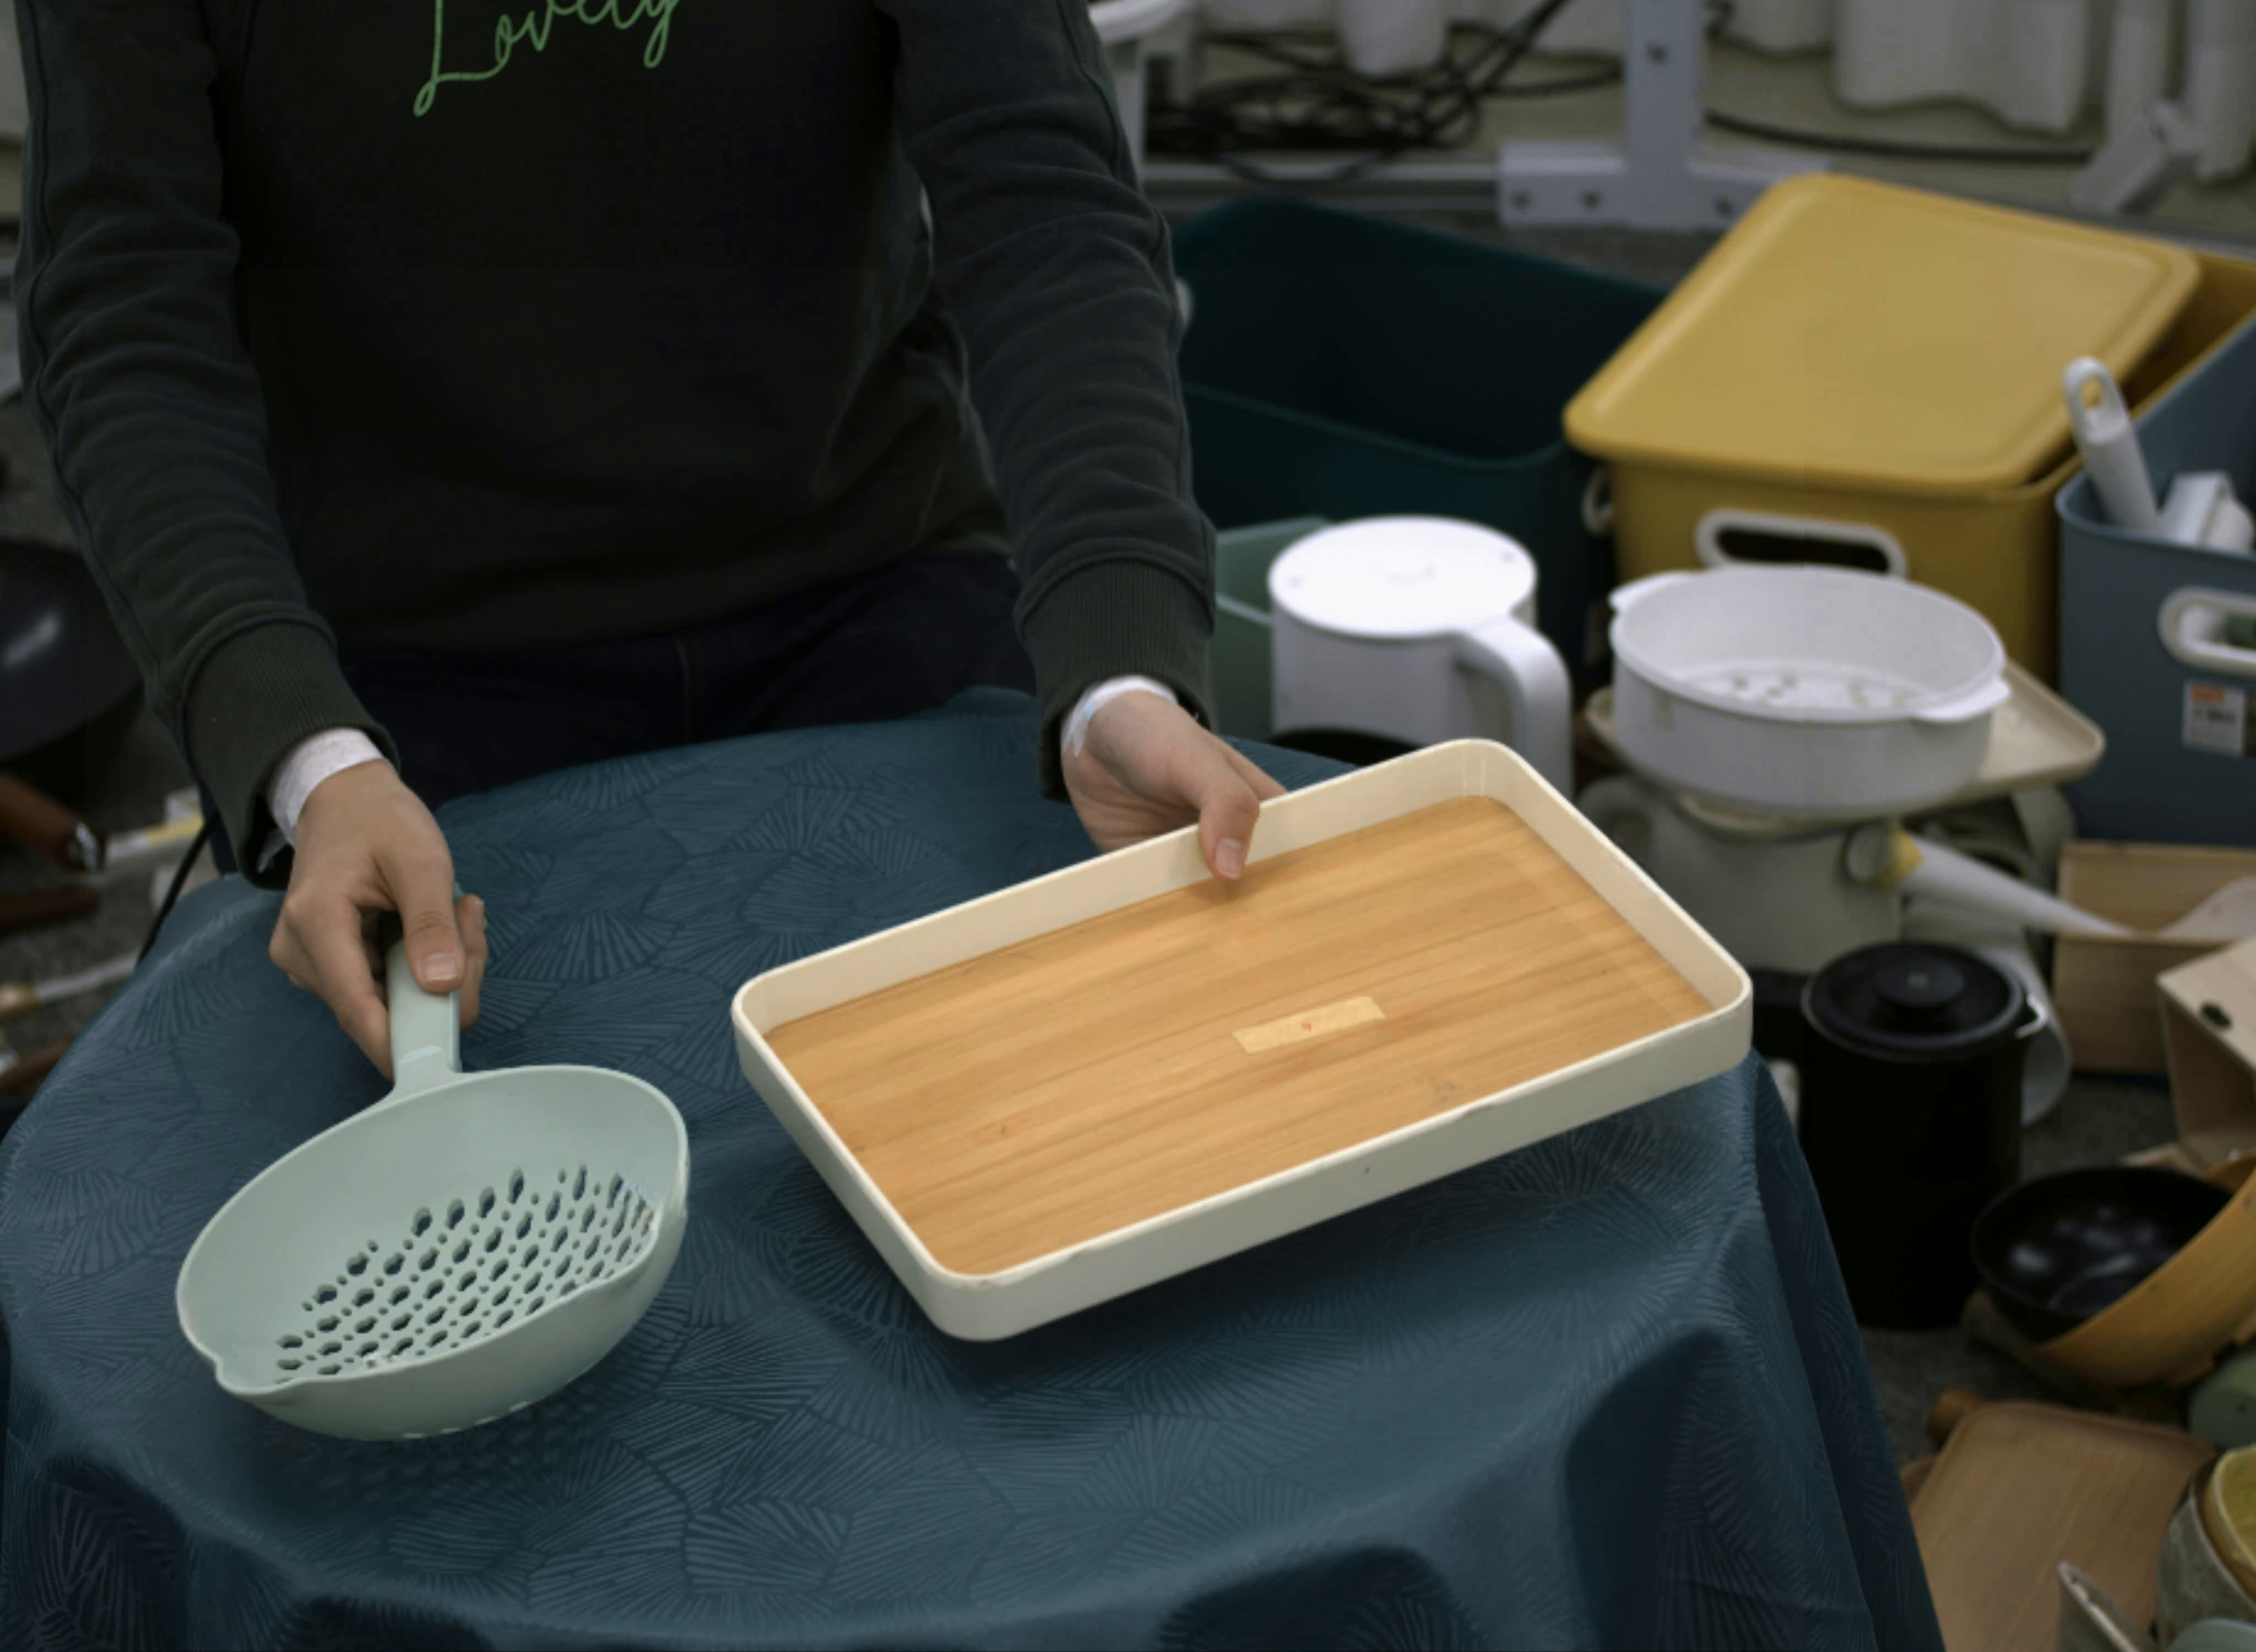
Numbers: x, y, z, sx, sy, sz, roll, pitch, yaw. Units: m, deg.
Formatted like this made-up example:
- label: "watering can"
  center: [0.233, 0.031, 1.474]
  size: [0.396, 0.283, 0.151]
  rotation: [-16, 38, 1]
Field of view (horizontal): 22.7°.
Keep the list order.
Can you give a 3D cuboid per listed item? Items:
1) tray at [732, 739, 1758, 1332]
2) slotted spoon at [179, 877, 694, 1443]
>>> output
- label: "tray"
  center: [0.038, 0.064, 1.858]
  size: [0.302, 0.027, 0.193]
  rotation: [-18, 36, -21]
- label: "slotted spoon"
  center: [-0.227, 0.092, 1.846]
  size: [0.169, 0.074, 0.364]
  rotation: [-17, 34, -1]
